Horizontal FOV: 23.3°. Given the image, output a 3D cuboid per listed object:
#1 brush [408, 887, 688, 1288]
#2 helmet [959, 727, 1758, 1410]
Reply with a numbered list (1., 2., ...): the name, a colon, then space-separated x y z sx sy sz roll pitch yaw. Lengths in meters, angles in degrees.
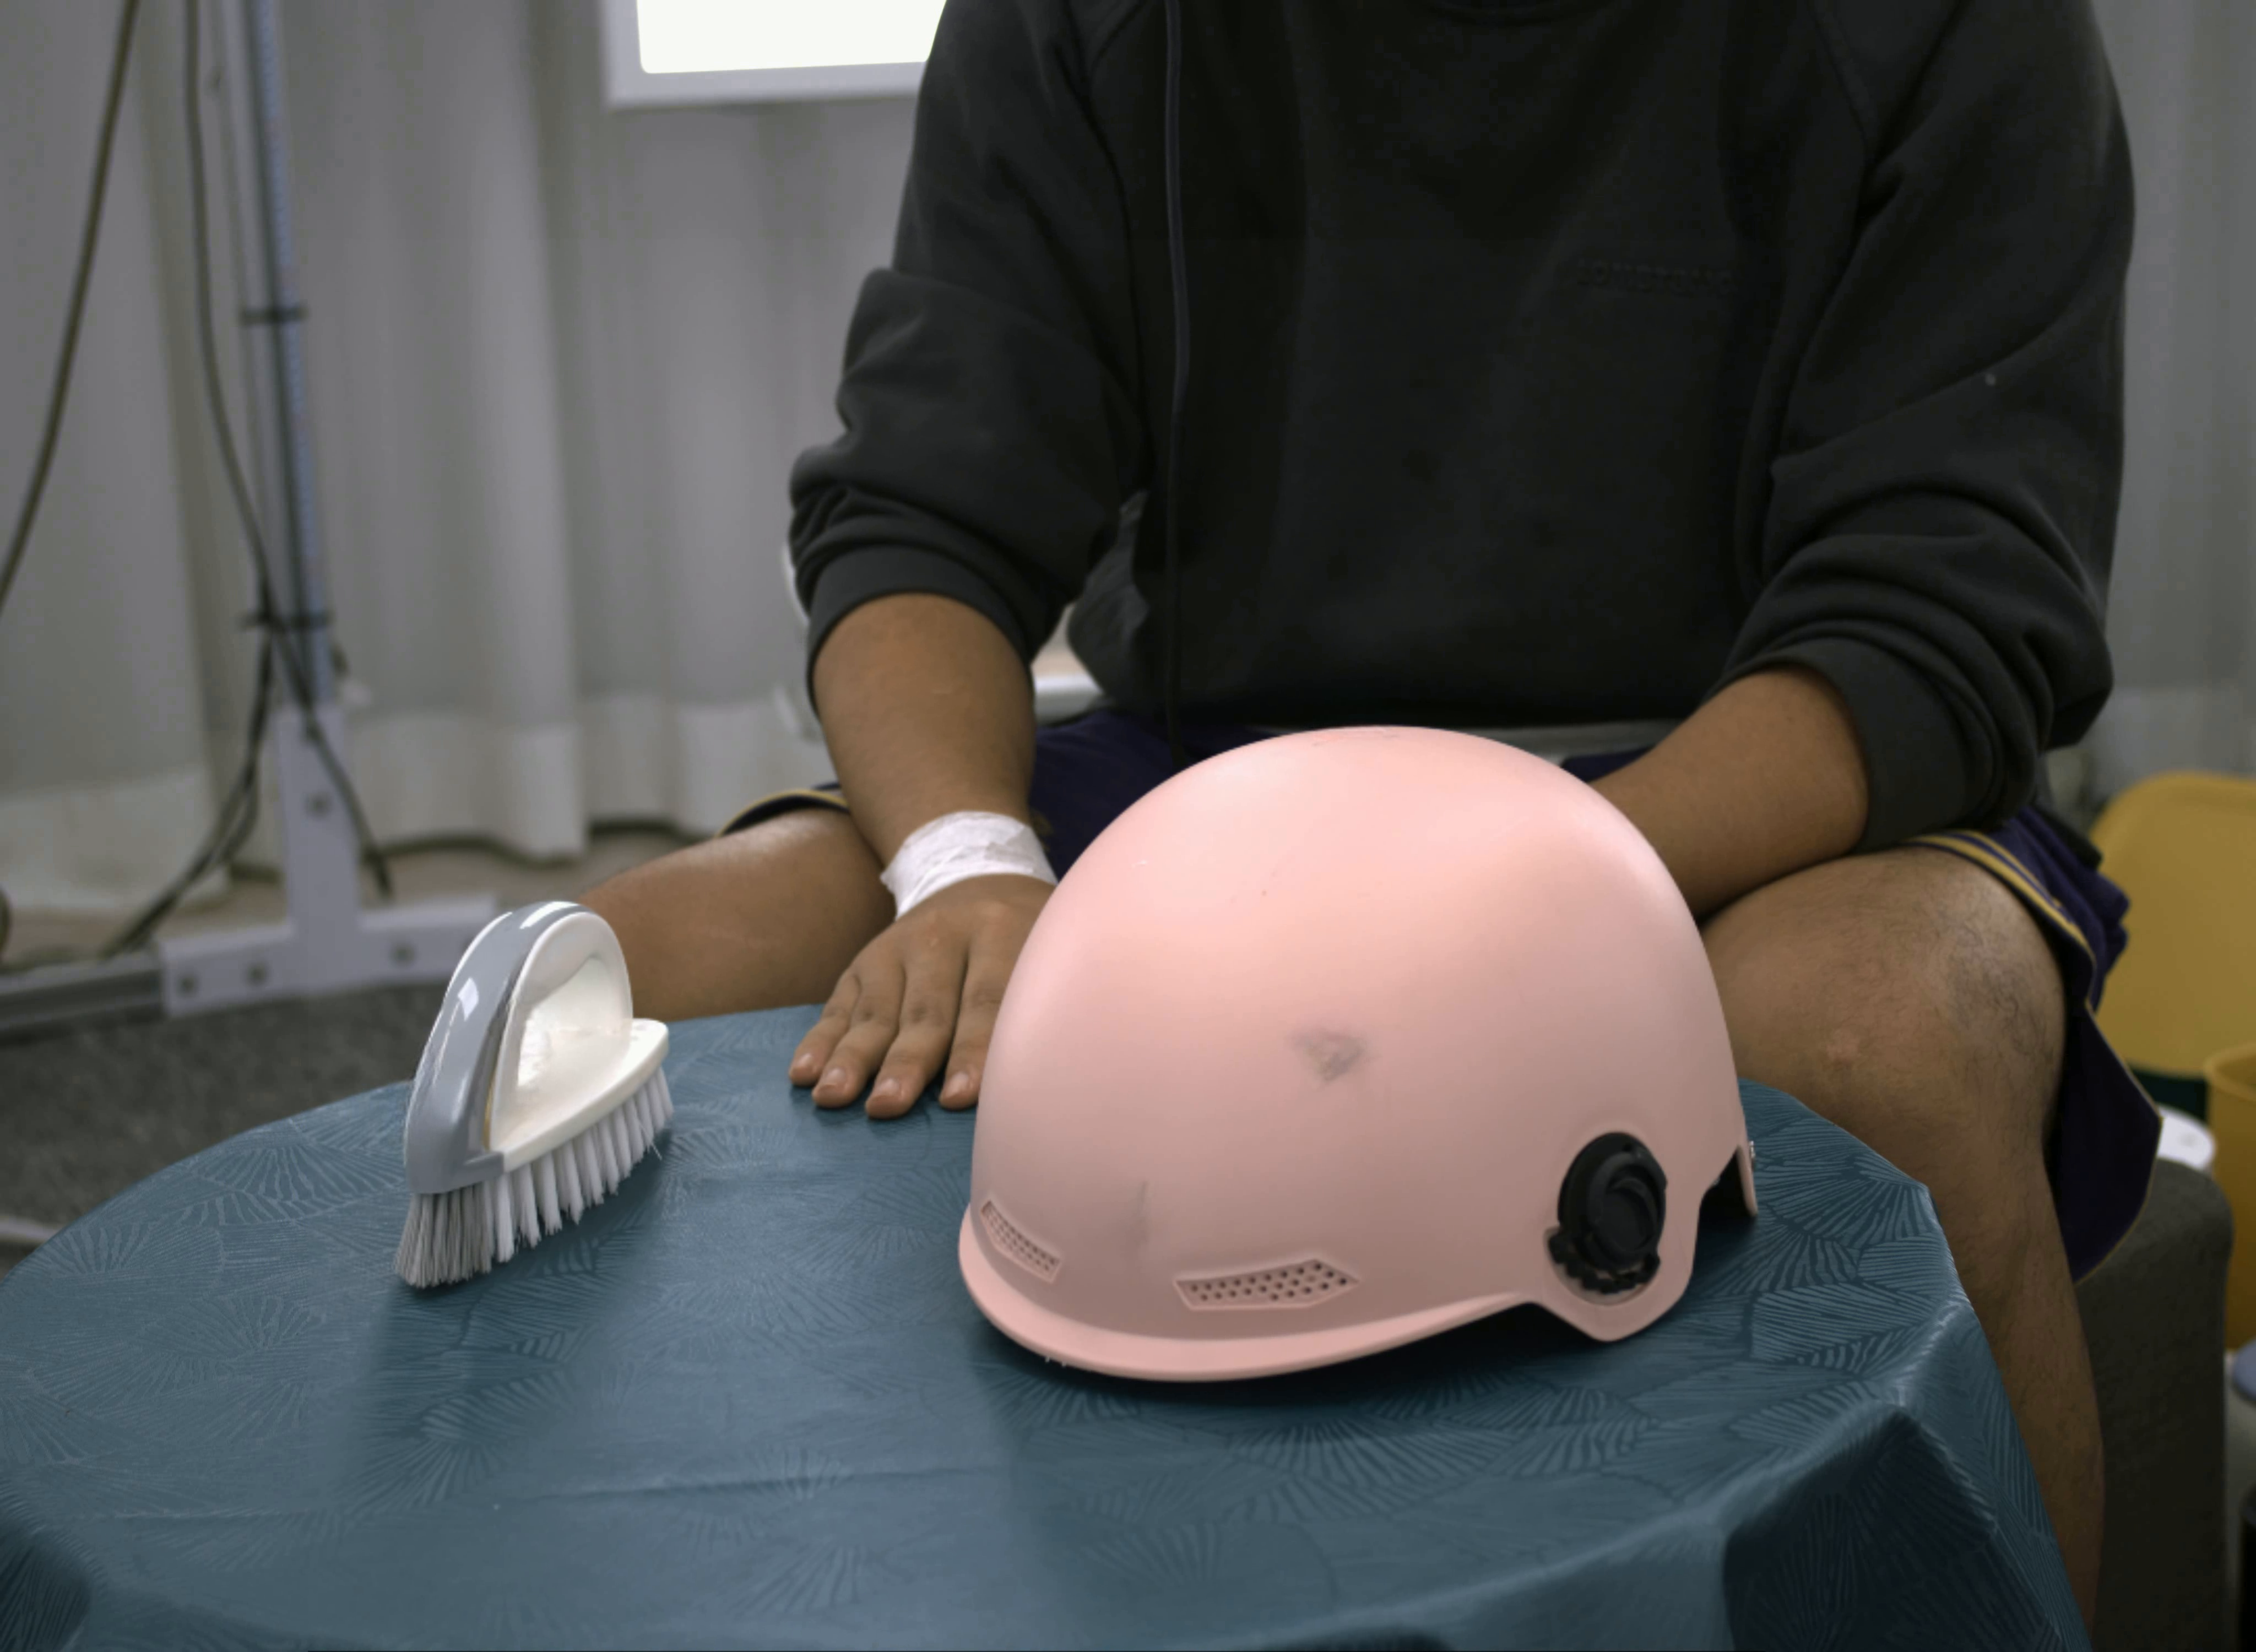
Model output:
1. brush: -0.191 0.076 1.722 0.061 0.094 0.176 -1 16 15
2. helmet: 0.063 0.058 1.626 0.235 0.158 0.266 8 22 34
